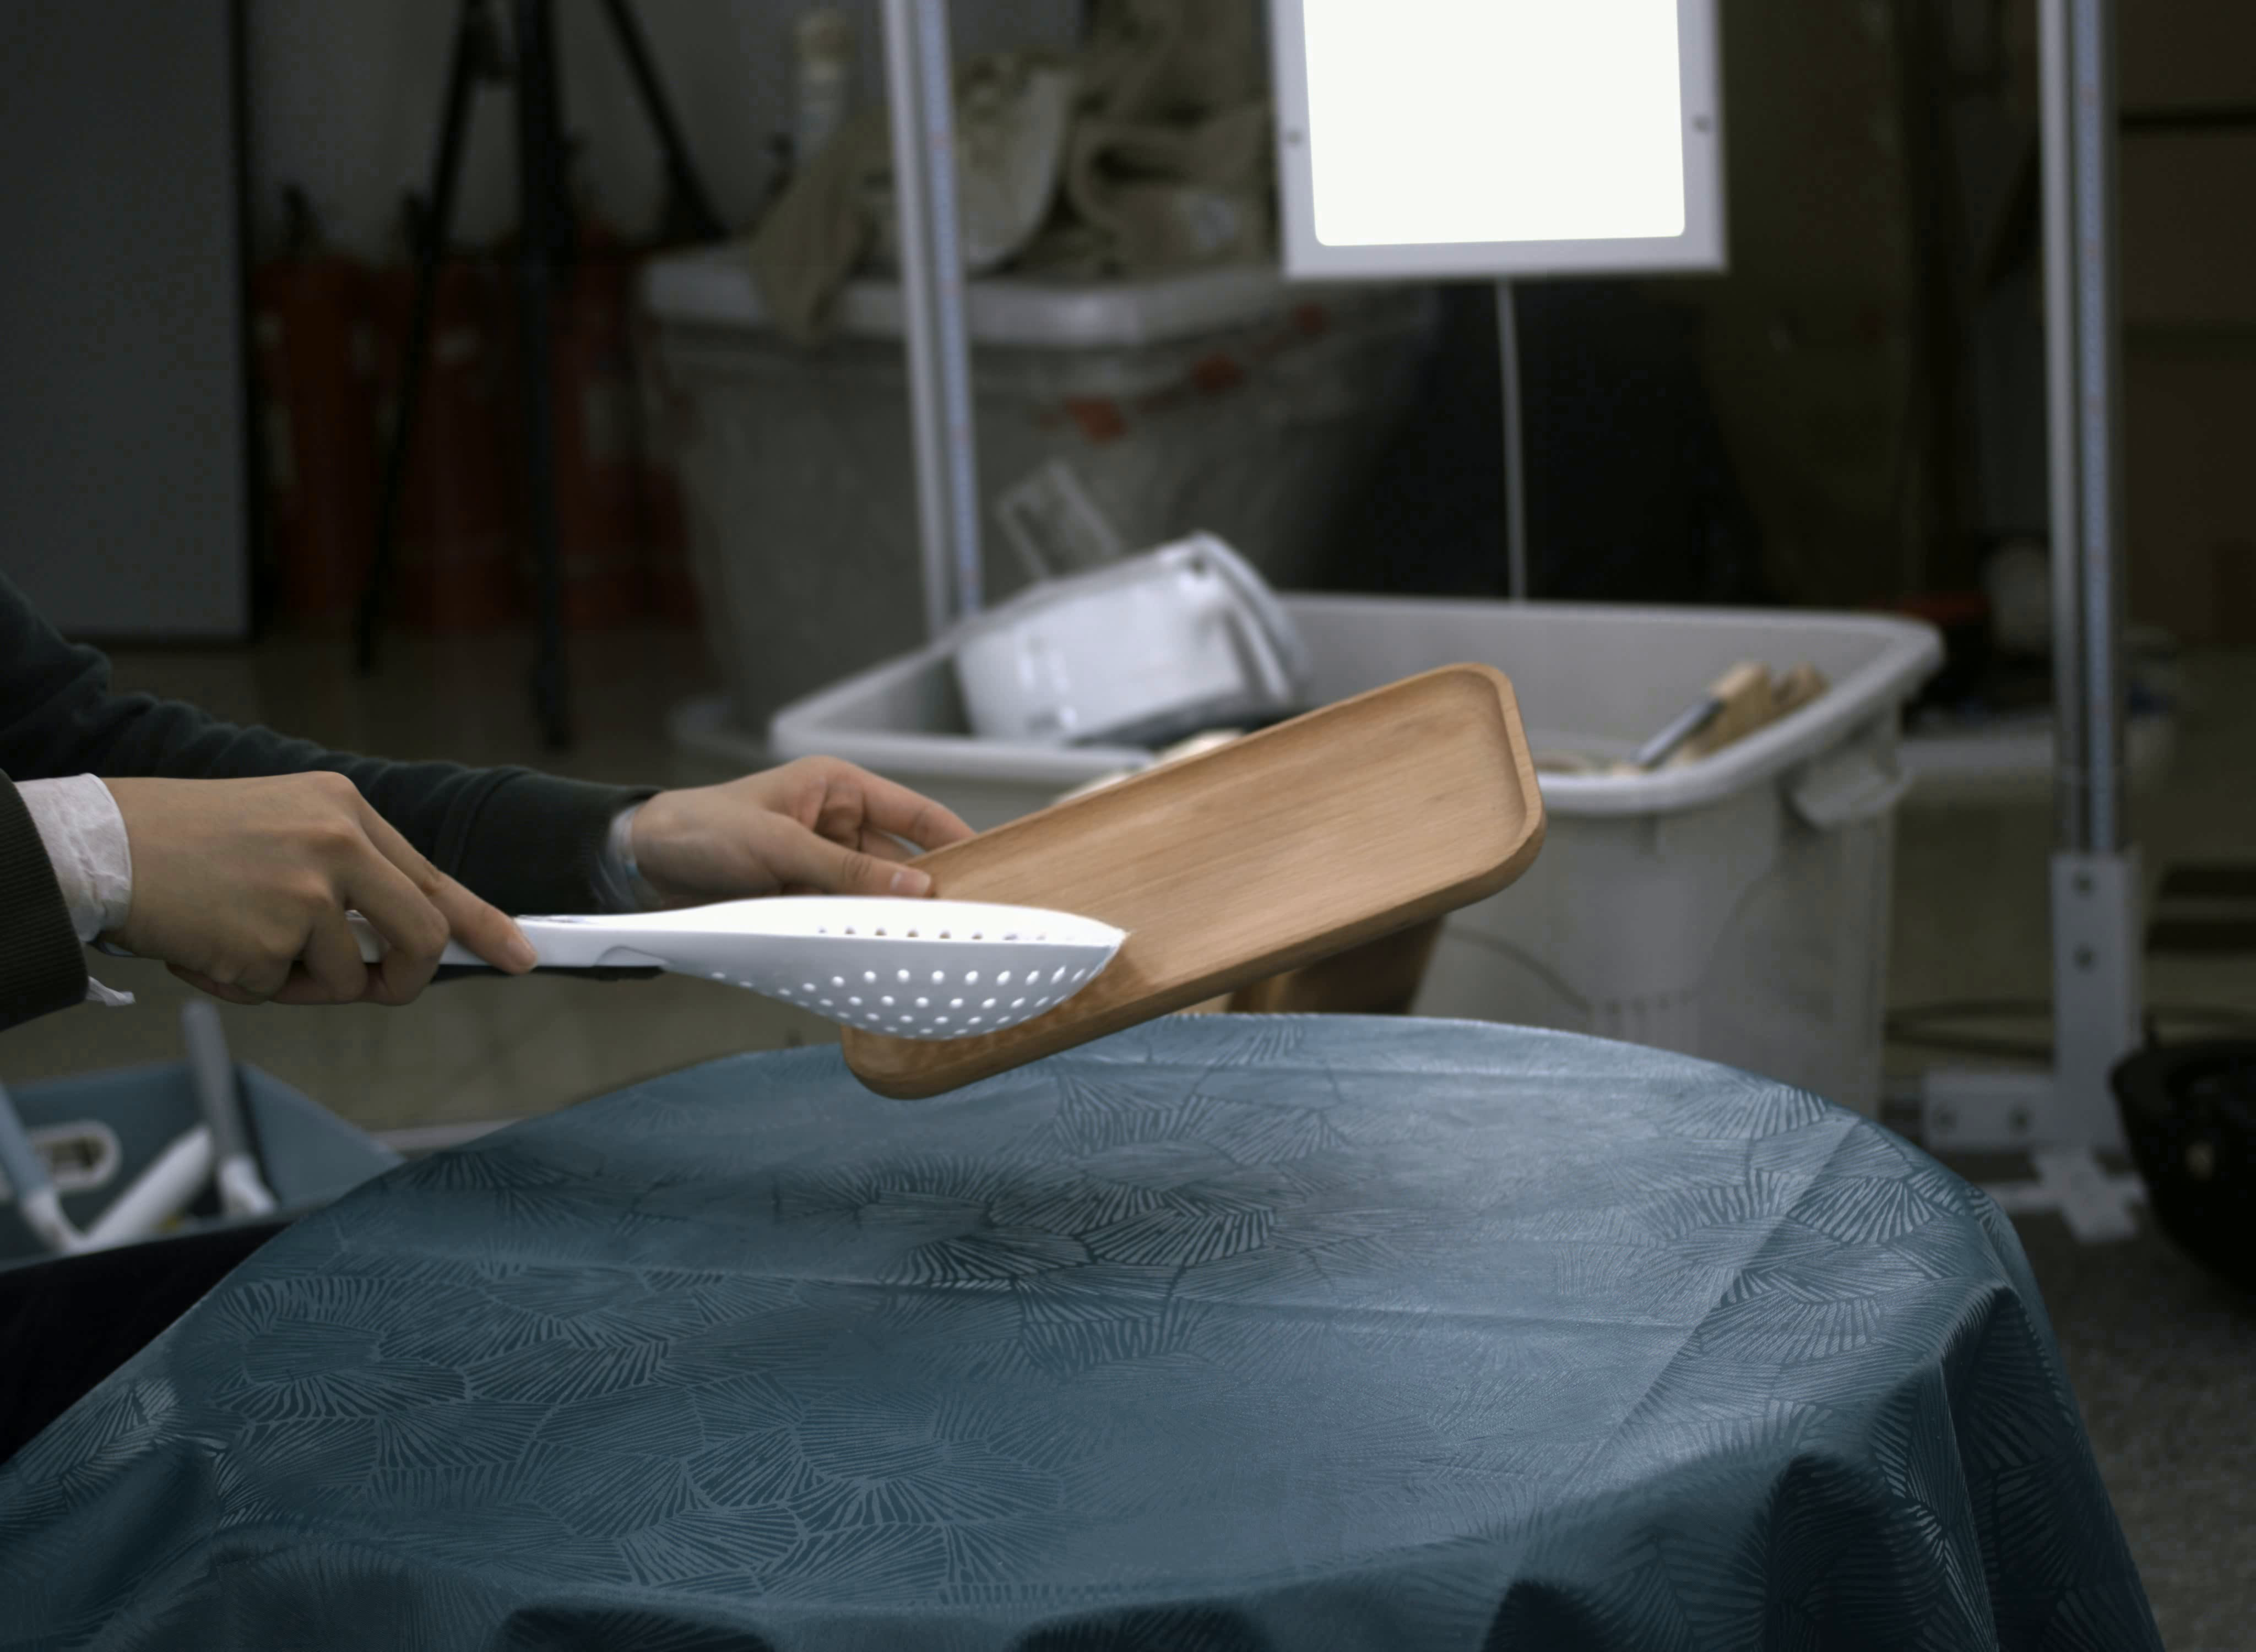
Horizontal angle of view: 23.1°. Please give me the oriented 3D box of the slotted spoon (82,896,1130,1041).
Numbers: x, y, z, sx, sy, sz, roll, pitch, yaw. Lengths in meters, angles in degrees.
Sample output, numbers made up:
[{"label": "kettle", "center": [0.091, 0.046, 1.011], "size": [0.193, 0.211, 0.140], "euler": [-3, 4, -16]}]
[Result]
[{"label": "slotted spoon", "center": [-0.162, 0.036, 1.765], "size": [0.342, 0.046, 0.138], "euler": [7, -1, -26]}]

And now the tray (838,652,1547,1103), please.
[{"label": "tray", "center": [0.020, 0.018, 1.859], "size": [0.252, 0.023, 0.130], "euler": [-21, 32, 11]}]
